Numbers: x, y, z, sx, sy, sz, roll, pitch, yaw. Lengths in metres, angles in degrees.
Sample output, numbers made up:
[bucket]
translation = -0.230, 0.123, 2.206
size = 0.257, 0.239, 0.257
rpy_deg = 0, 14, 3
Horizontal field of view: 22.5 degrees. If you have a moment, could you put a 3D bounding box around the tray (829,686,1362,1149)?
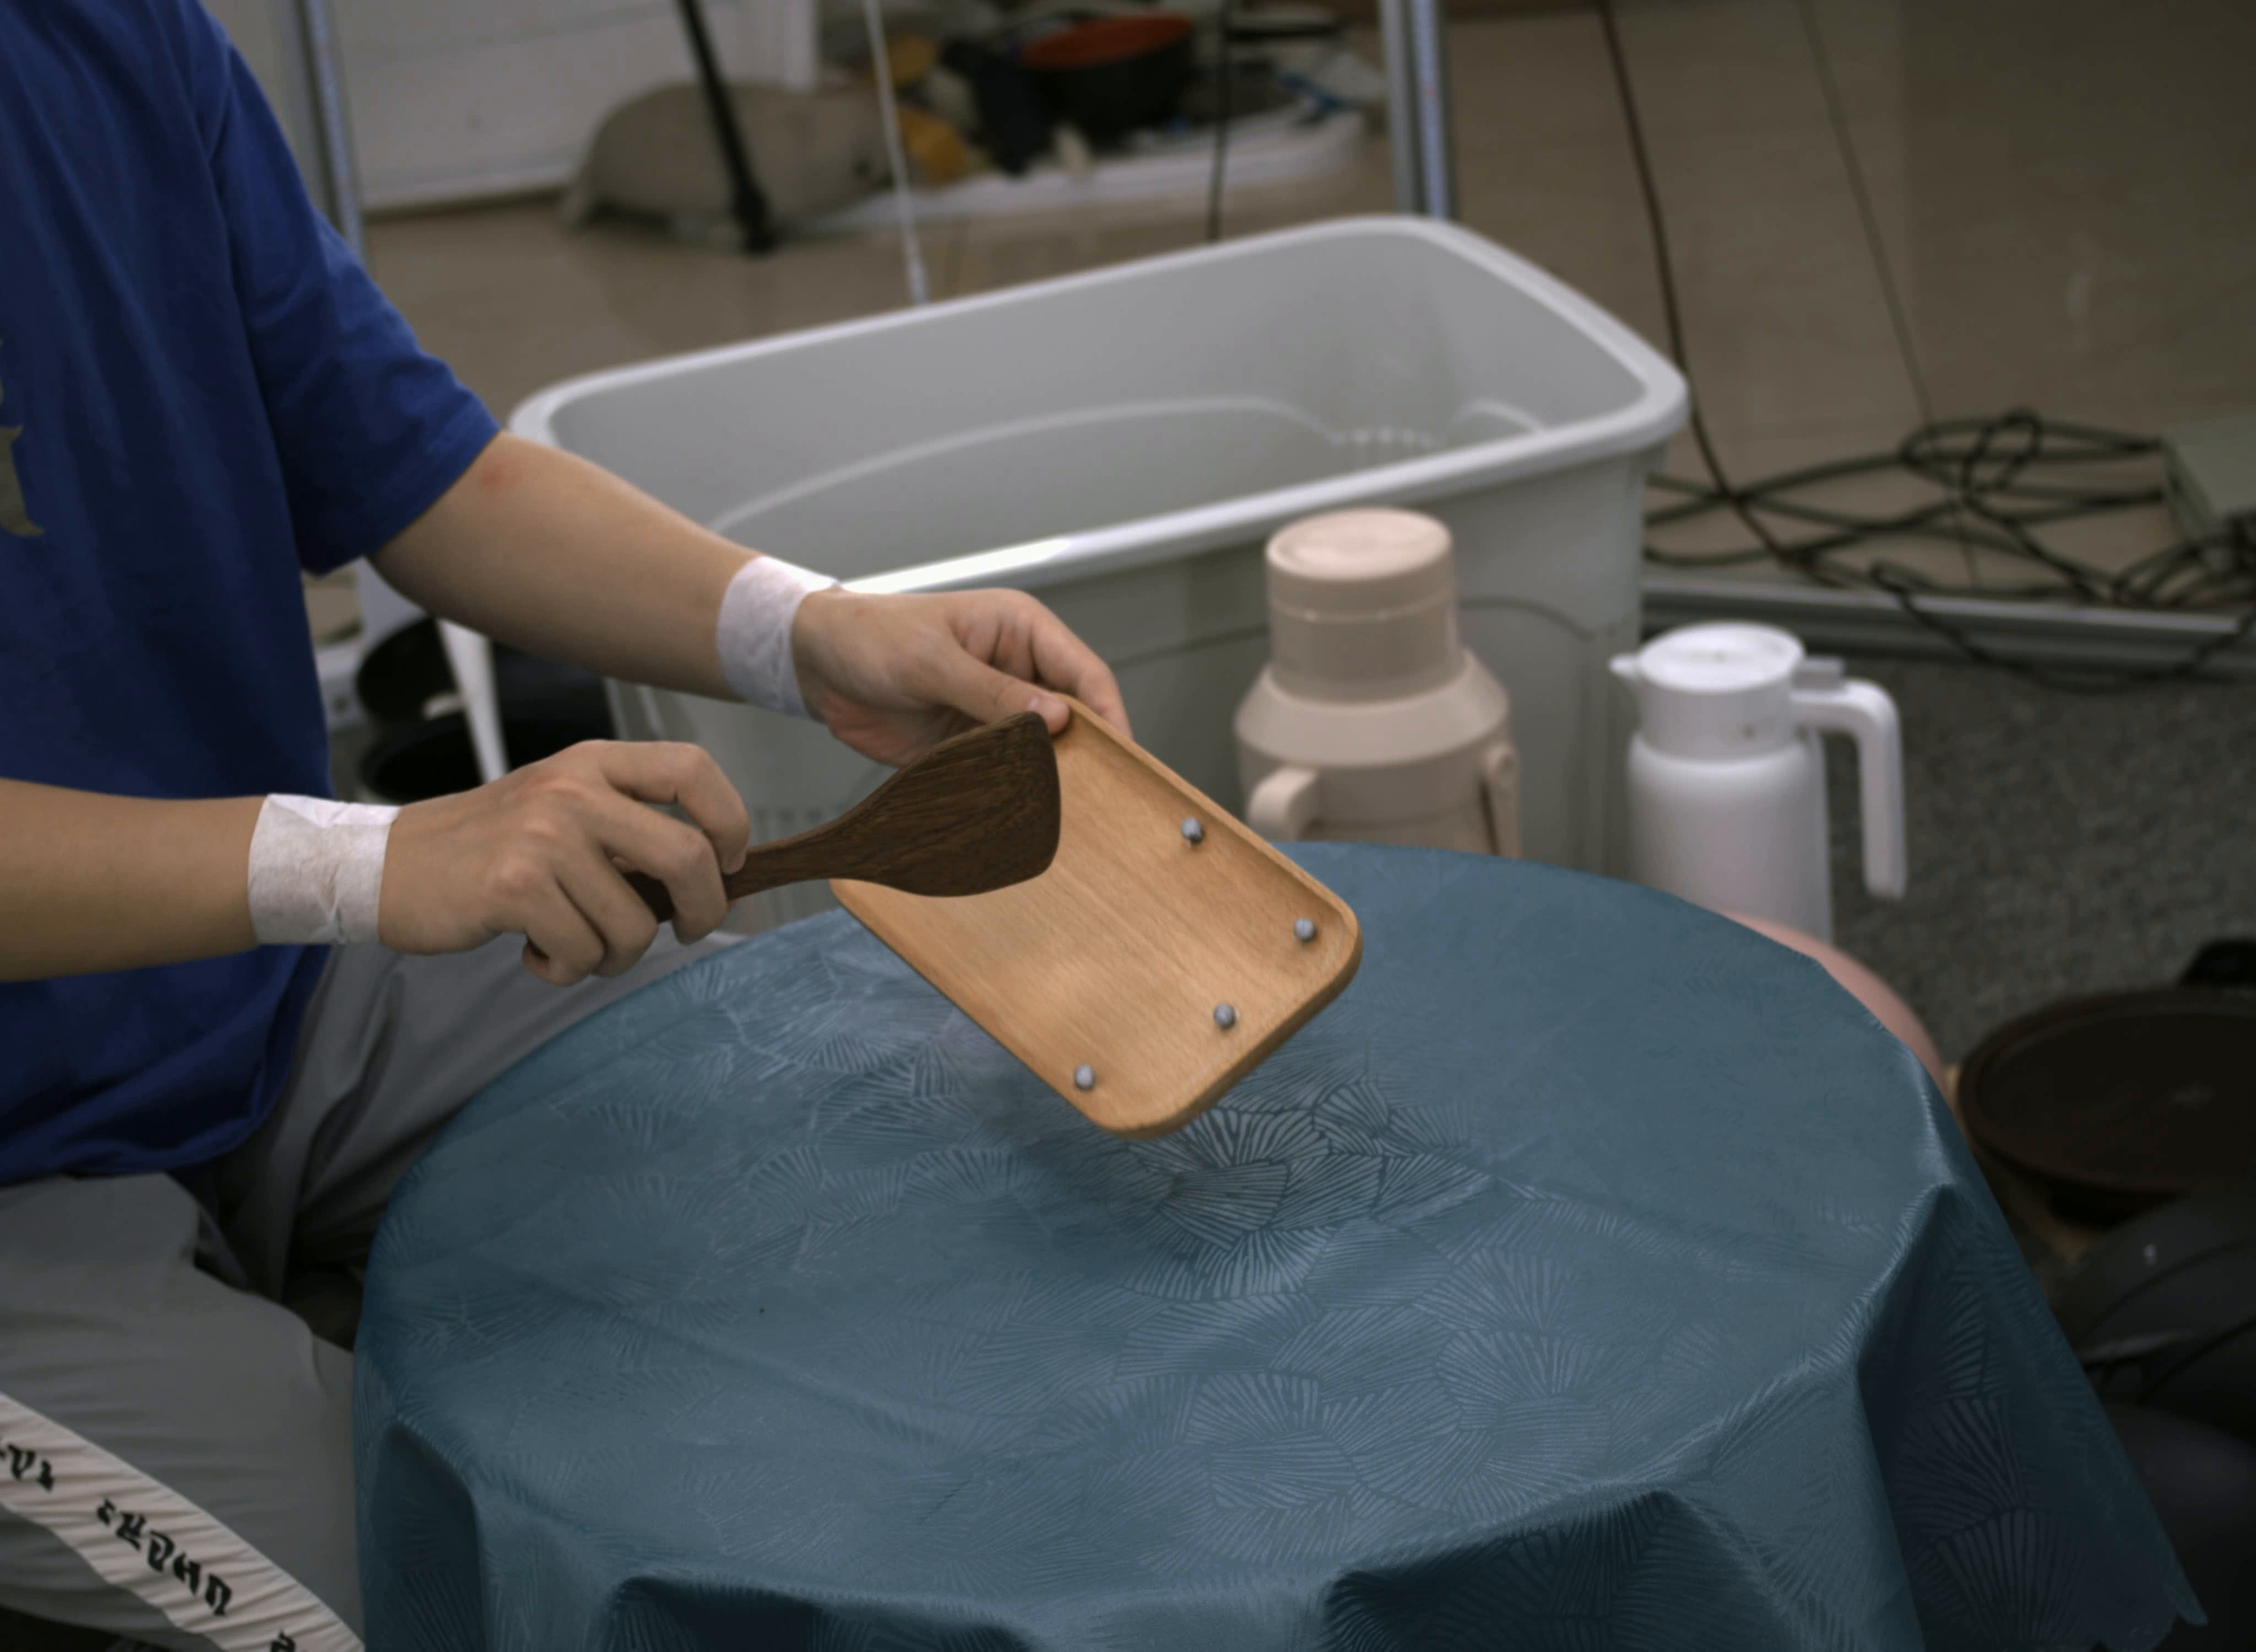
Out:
[tray]
translation = -0.015, 0.033, 2.184
size = 0.130, 0.023, 0.247
rpy_deg = -39, 41, -10

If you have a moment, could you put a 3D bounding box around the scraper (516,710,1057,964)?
[scraper]
translation = -0.126, 0.013, 2.109
size = 0.210, 0.077, 0.010
rpy_deg = -16, 38, -11
